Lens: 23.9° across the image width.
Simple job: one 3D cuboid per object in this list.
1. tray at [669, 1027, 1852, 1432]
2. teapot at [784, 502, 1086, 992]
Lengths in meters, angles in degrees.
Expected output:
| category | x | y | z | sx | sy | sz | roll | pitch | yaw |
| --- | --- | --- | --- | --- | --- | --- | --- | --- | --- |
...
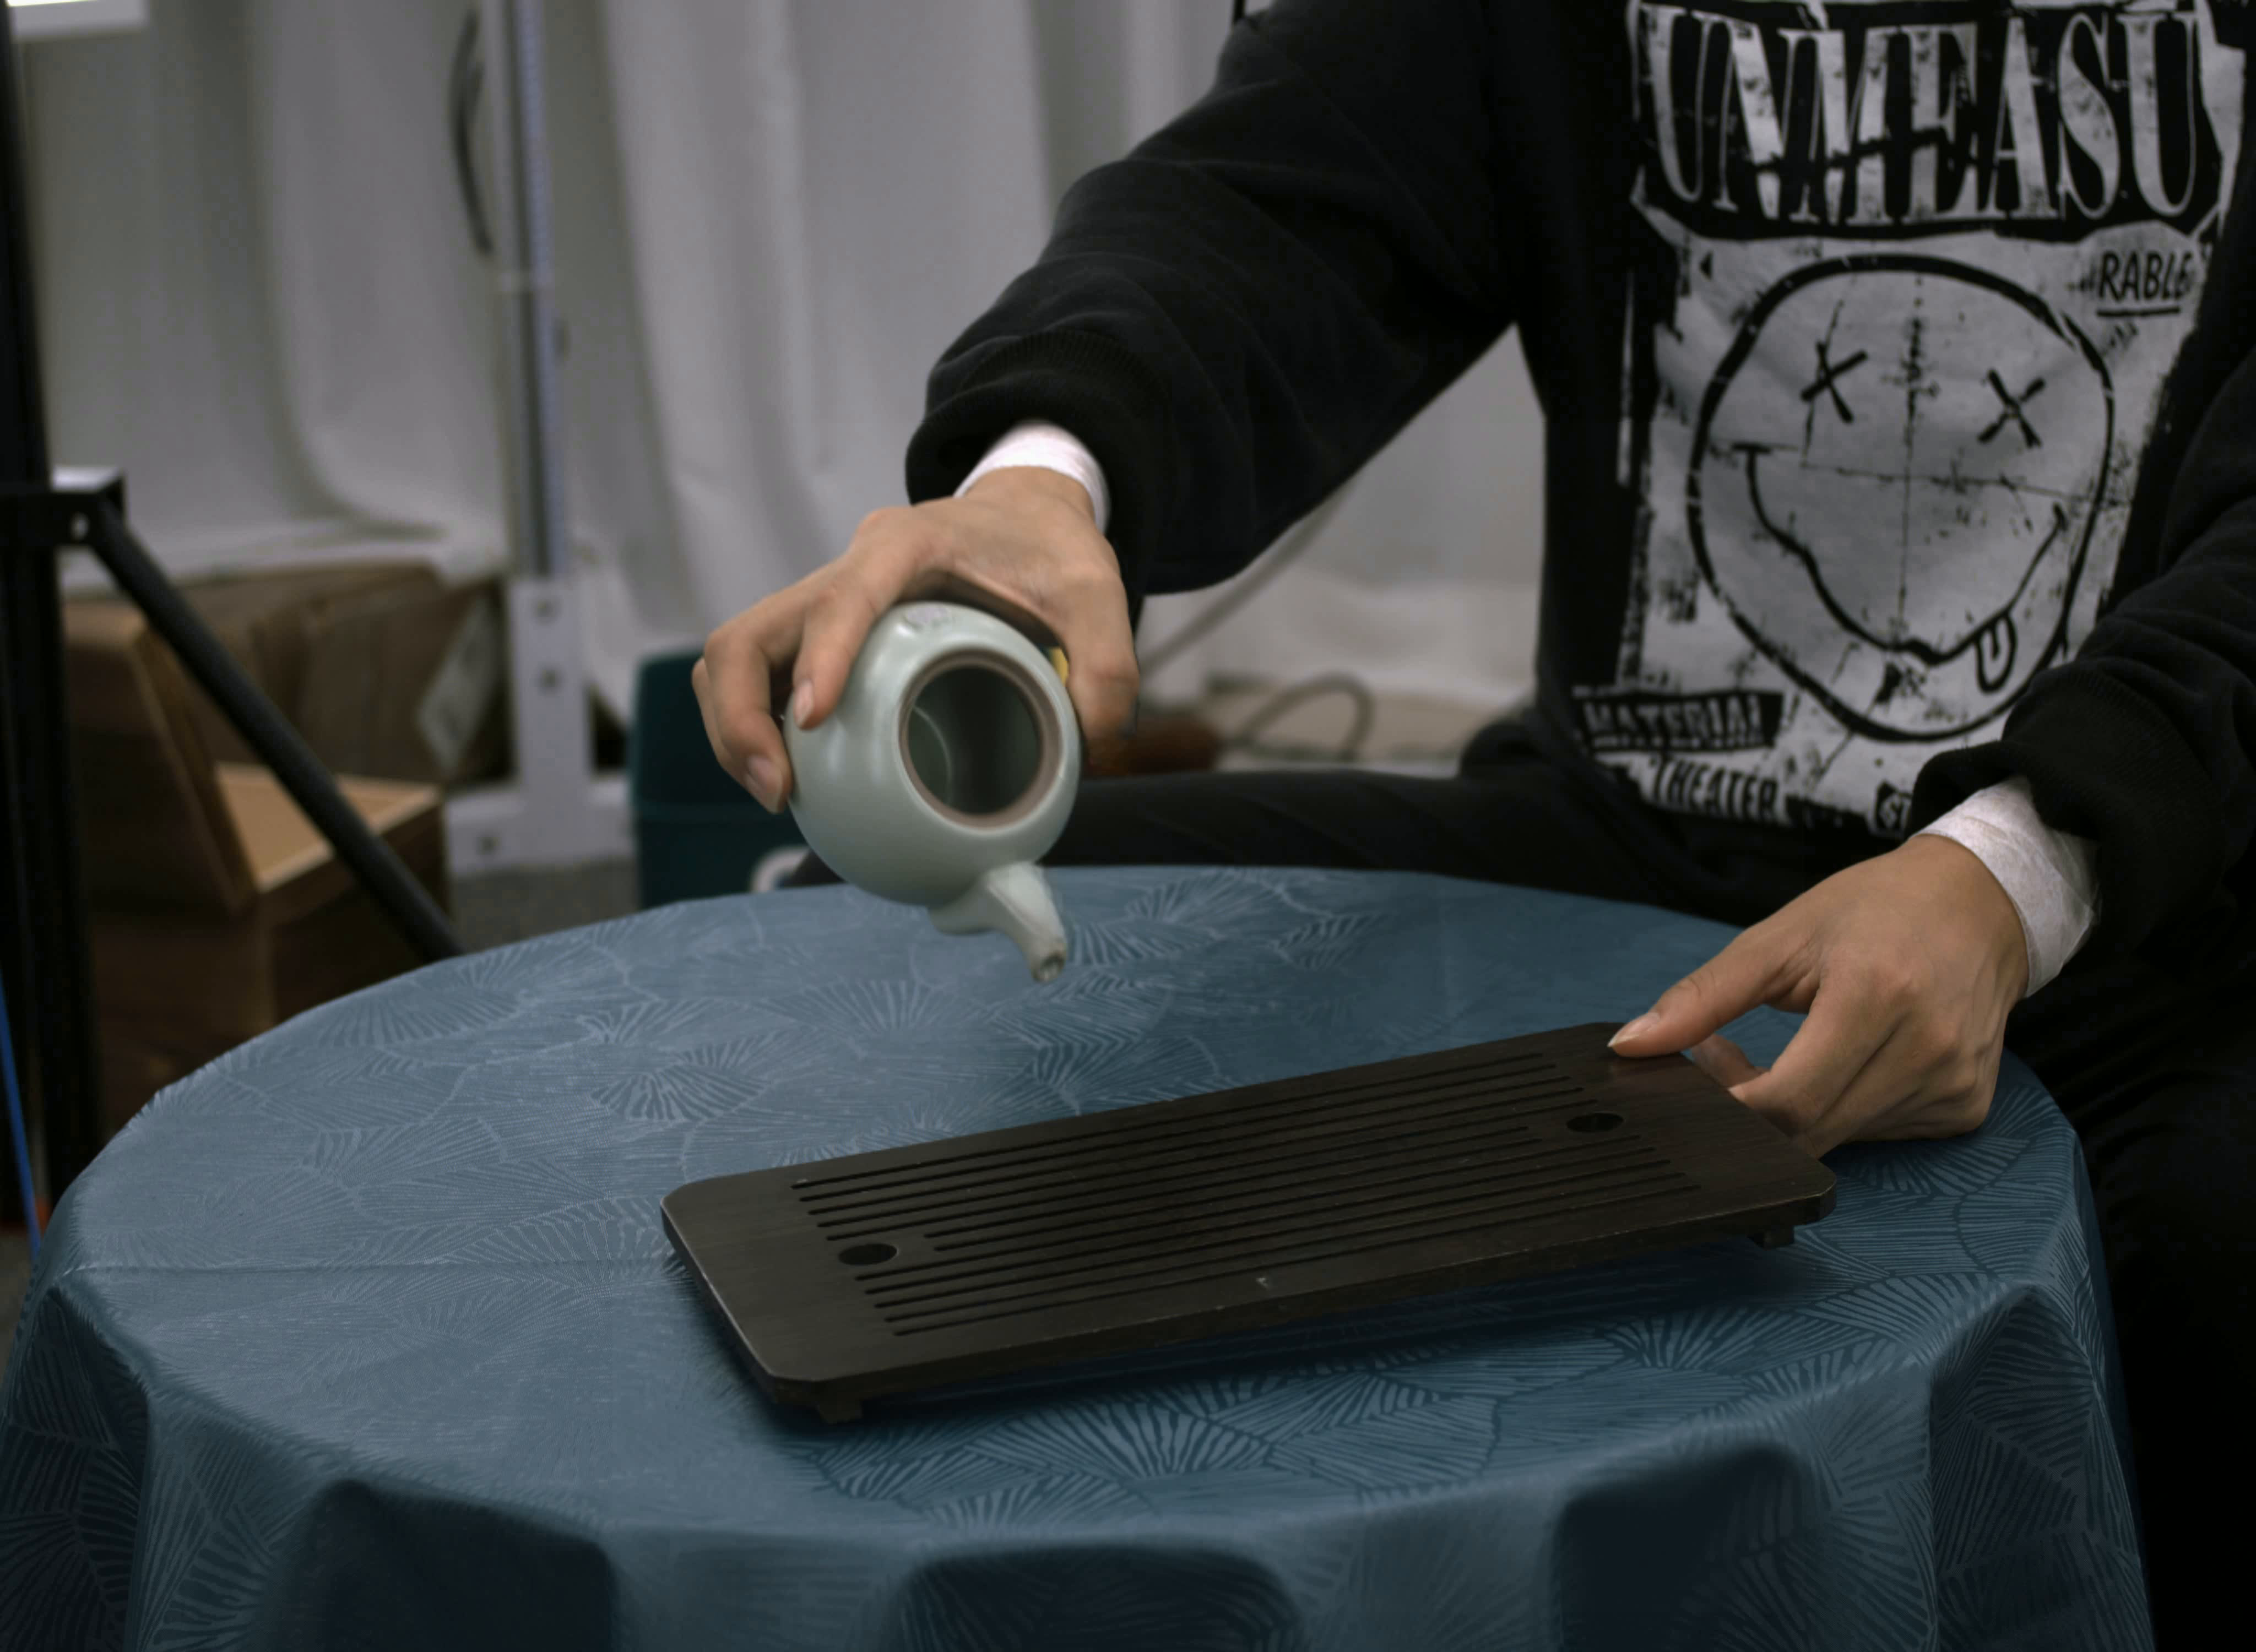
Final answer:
| category | x | y | z | sx | sy | sz | roll | pitch | yaw |
| --- | --- | --- | --- | --- | --- | --- | --- | --- | --- |
| tray | 0.034 | 0.111 | 1.482 | 0.302 | 0.018 | 0.172 | -9 | 16 | -12 |
| teapot | -0.055 | -0.021 | 1.530 | 0.086 | 0.144 | 0.076 | -14 | 2 | -31 |
